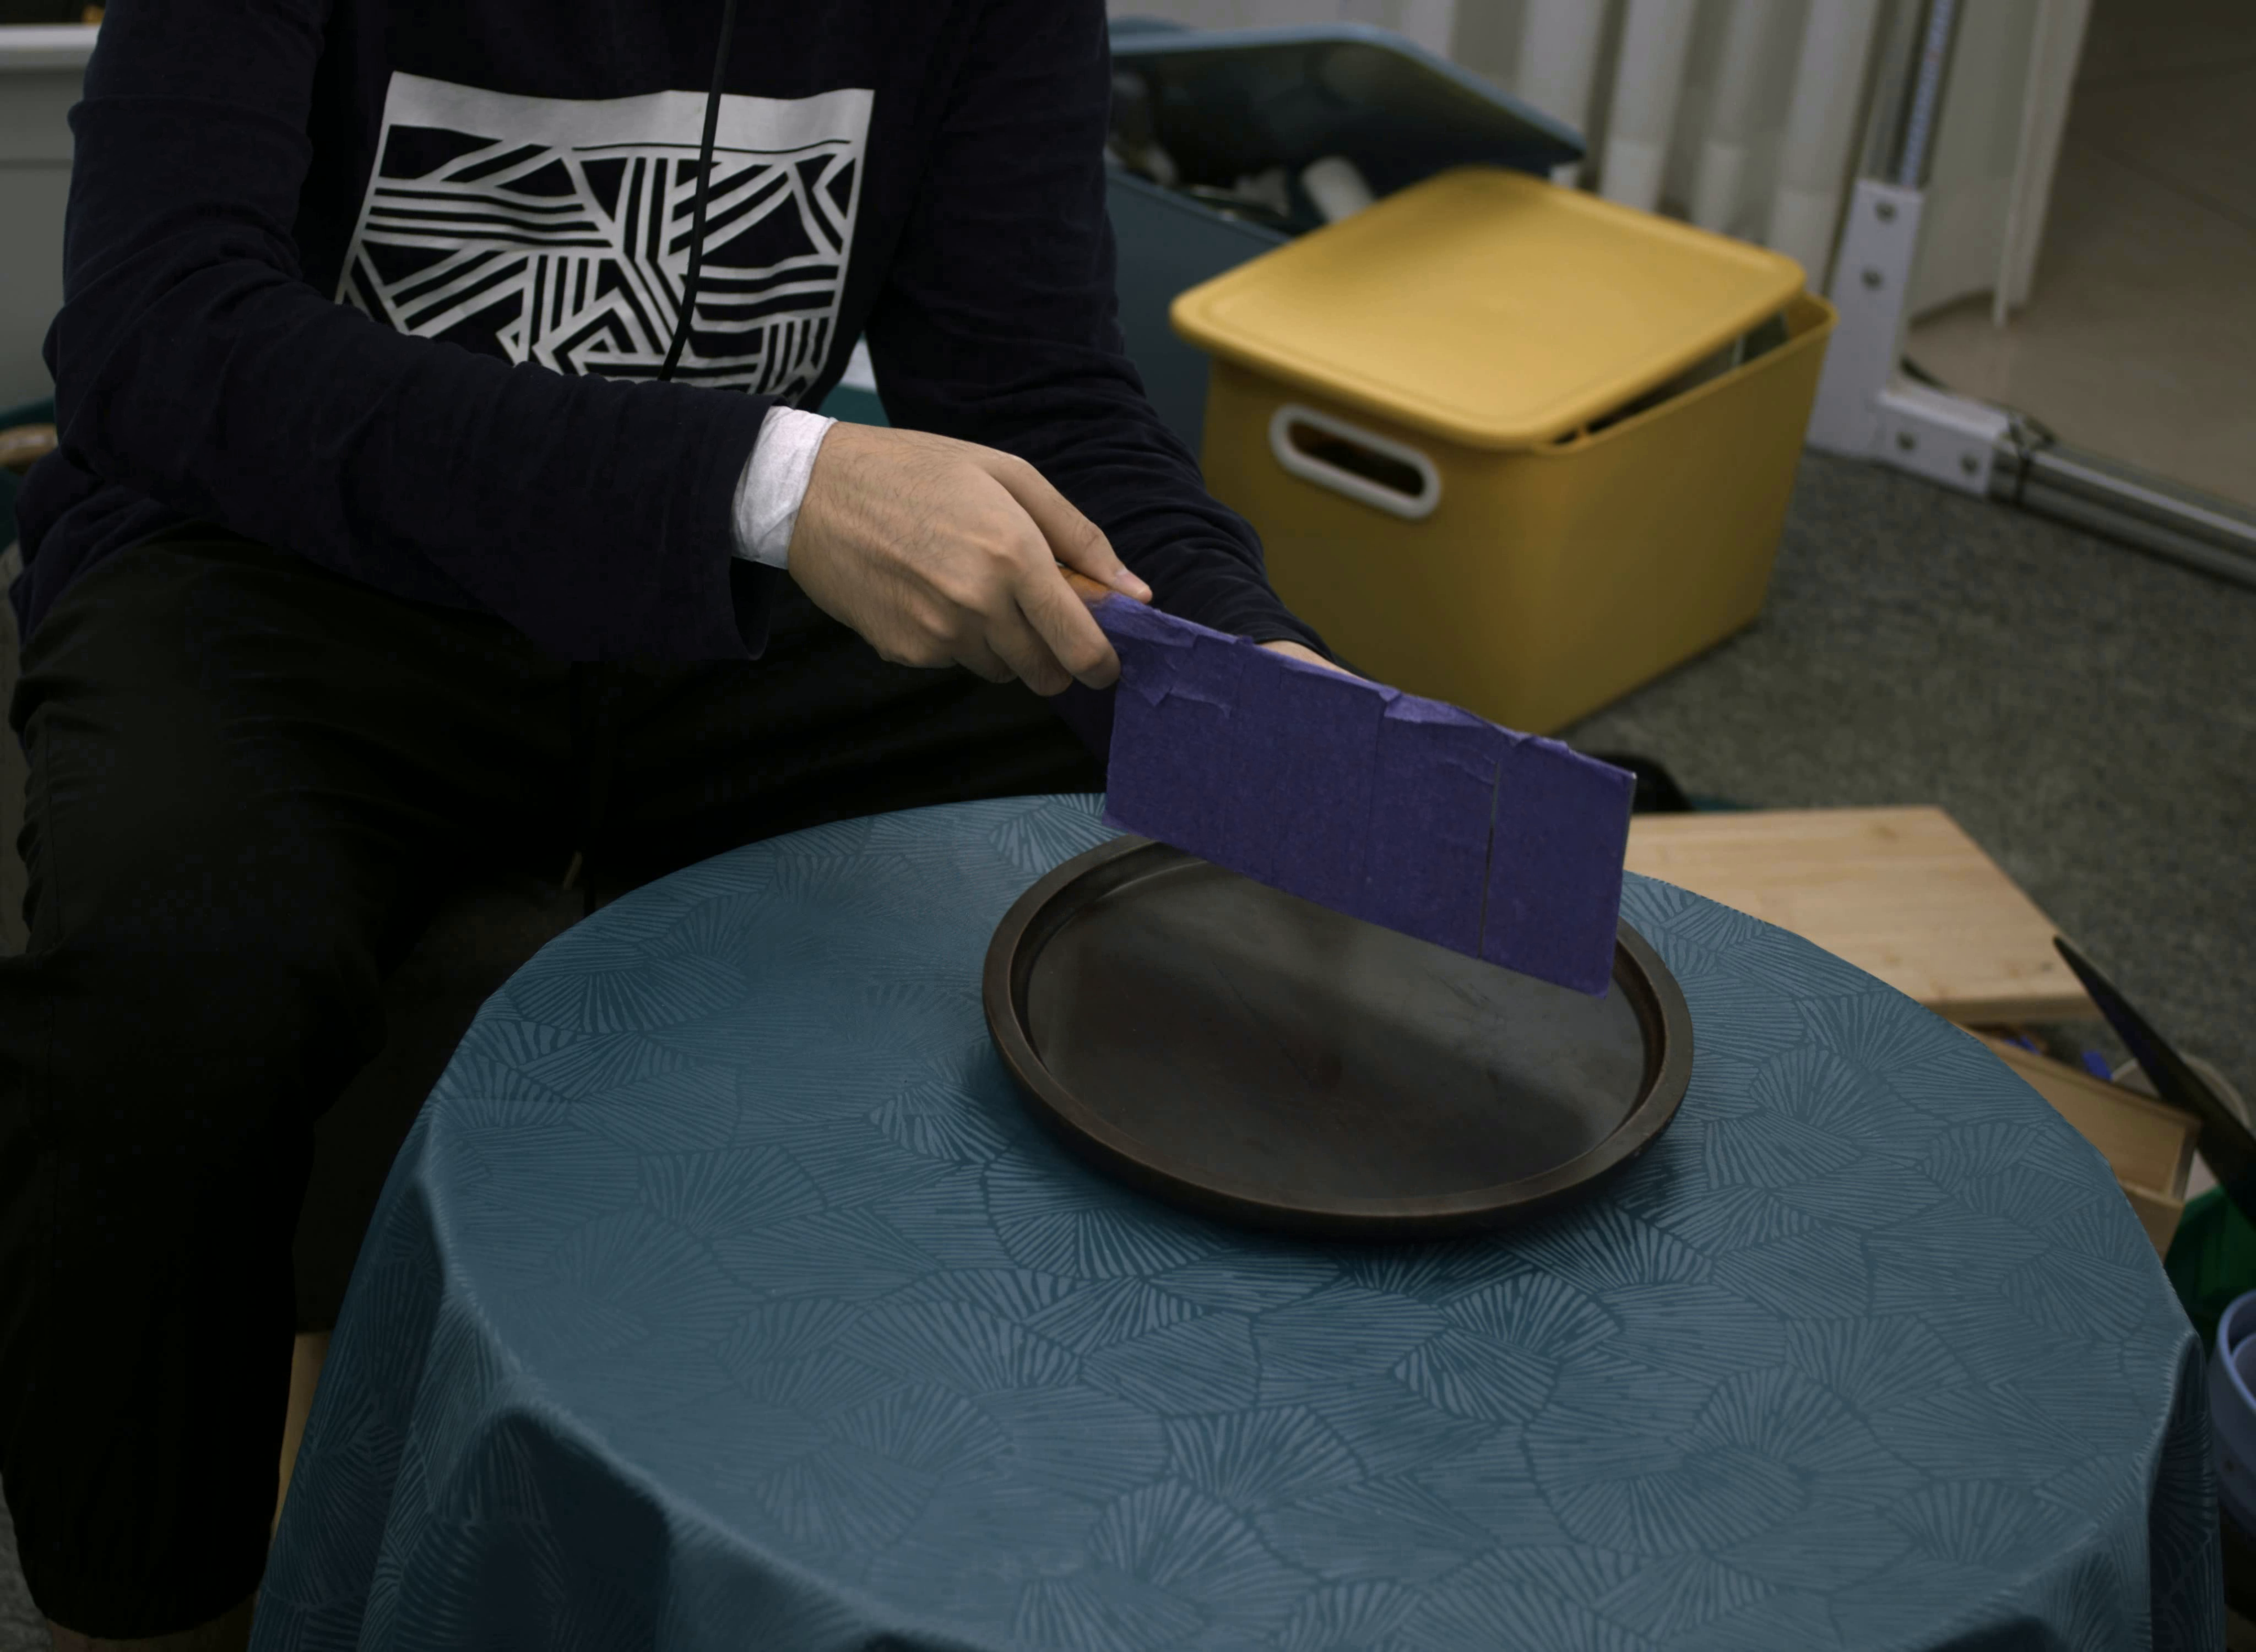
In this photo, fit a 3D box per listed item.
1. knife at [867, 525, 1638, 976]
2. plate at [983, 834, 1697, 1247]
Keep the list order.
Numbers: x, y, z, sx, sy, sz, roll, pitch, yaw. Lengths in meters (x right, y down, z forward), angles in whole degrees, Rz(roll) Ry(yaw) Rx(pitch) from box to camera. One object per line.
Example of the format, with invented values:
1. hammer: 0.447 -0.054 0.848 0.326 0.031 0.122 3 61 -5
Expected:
1. knife: 0.038 -0.024 1.903 0.317 0.103 0.032 20 27 29
2. plate: 0.074 0.071 1.878 0.254 0.029 0.256 4 32 -3
